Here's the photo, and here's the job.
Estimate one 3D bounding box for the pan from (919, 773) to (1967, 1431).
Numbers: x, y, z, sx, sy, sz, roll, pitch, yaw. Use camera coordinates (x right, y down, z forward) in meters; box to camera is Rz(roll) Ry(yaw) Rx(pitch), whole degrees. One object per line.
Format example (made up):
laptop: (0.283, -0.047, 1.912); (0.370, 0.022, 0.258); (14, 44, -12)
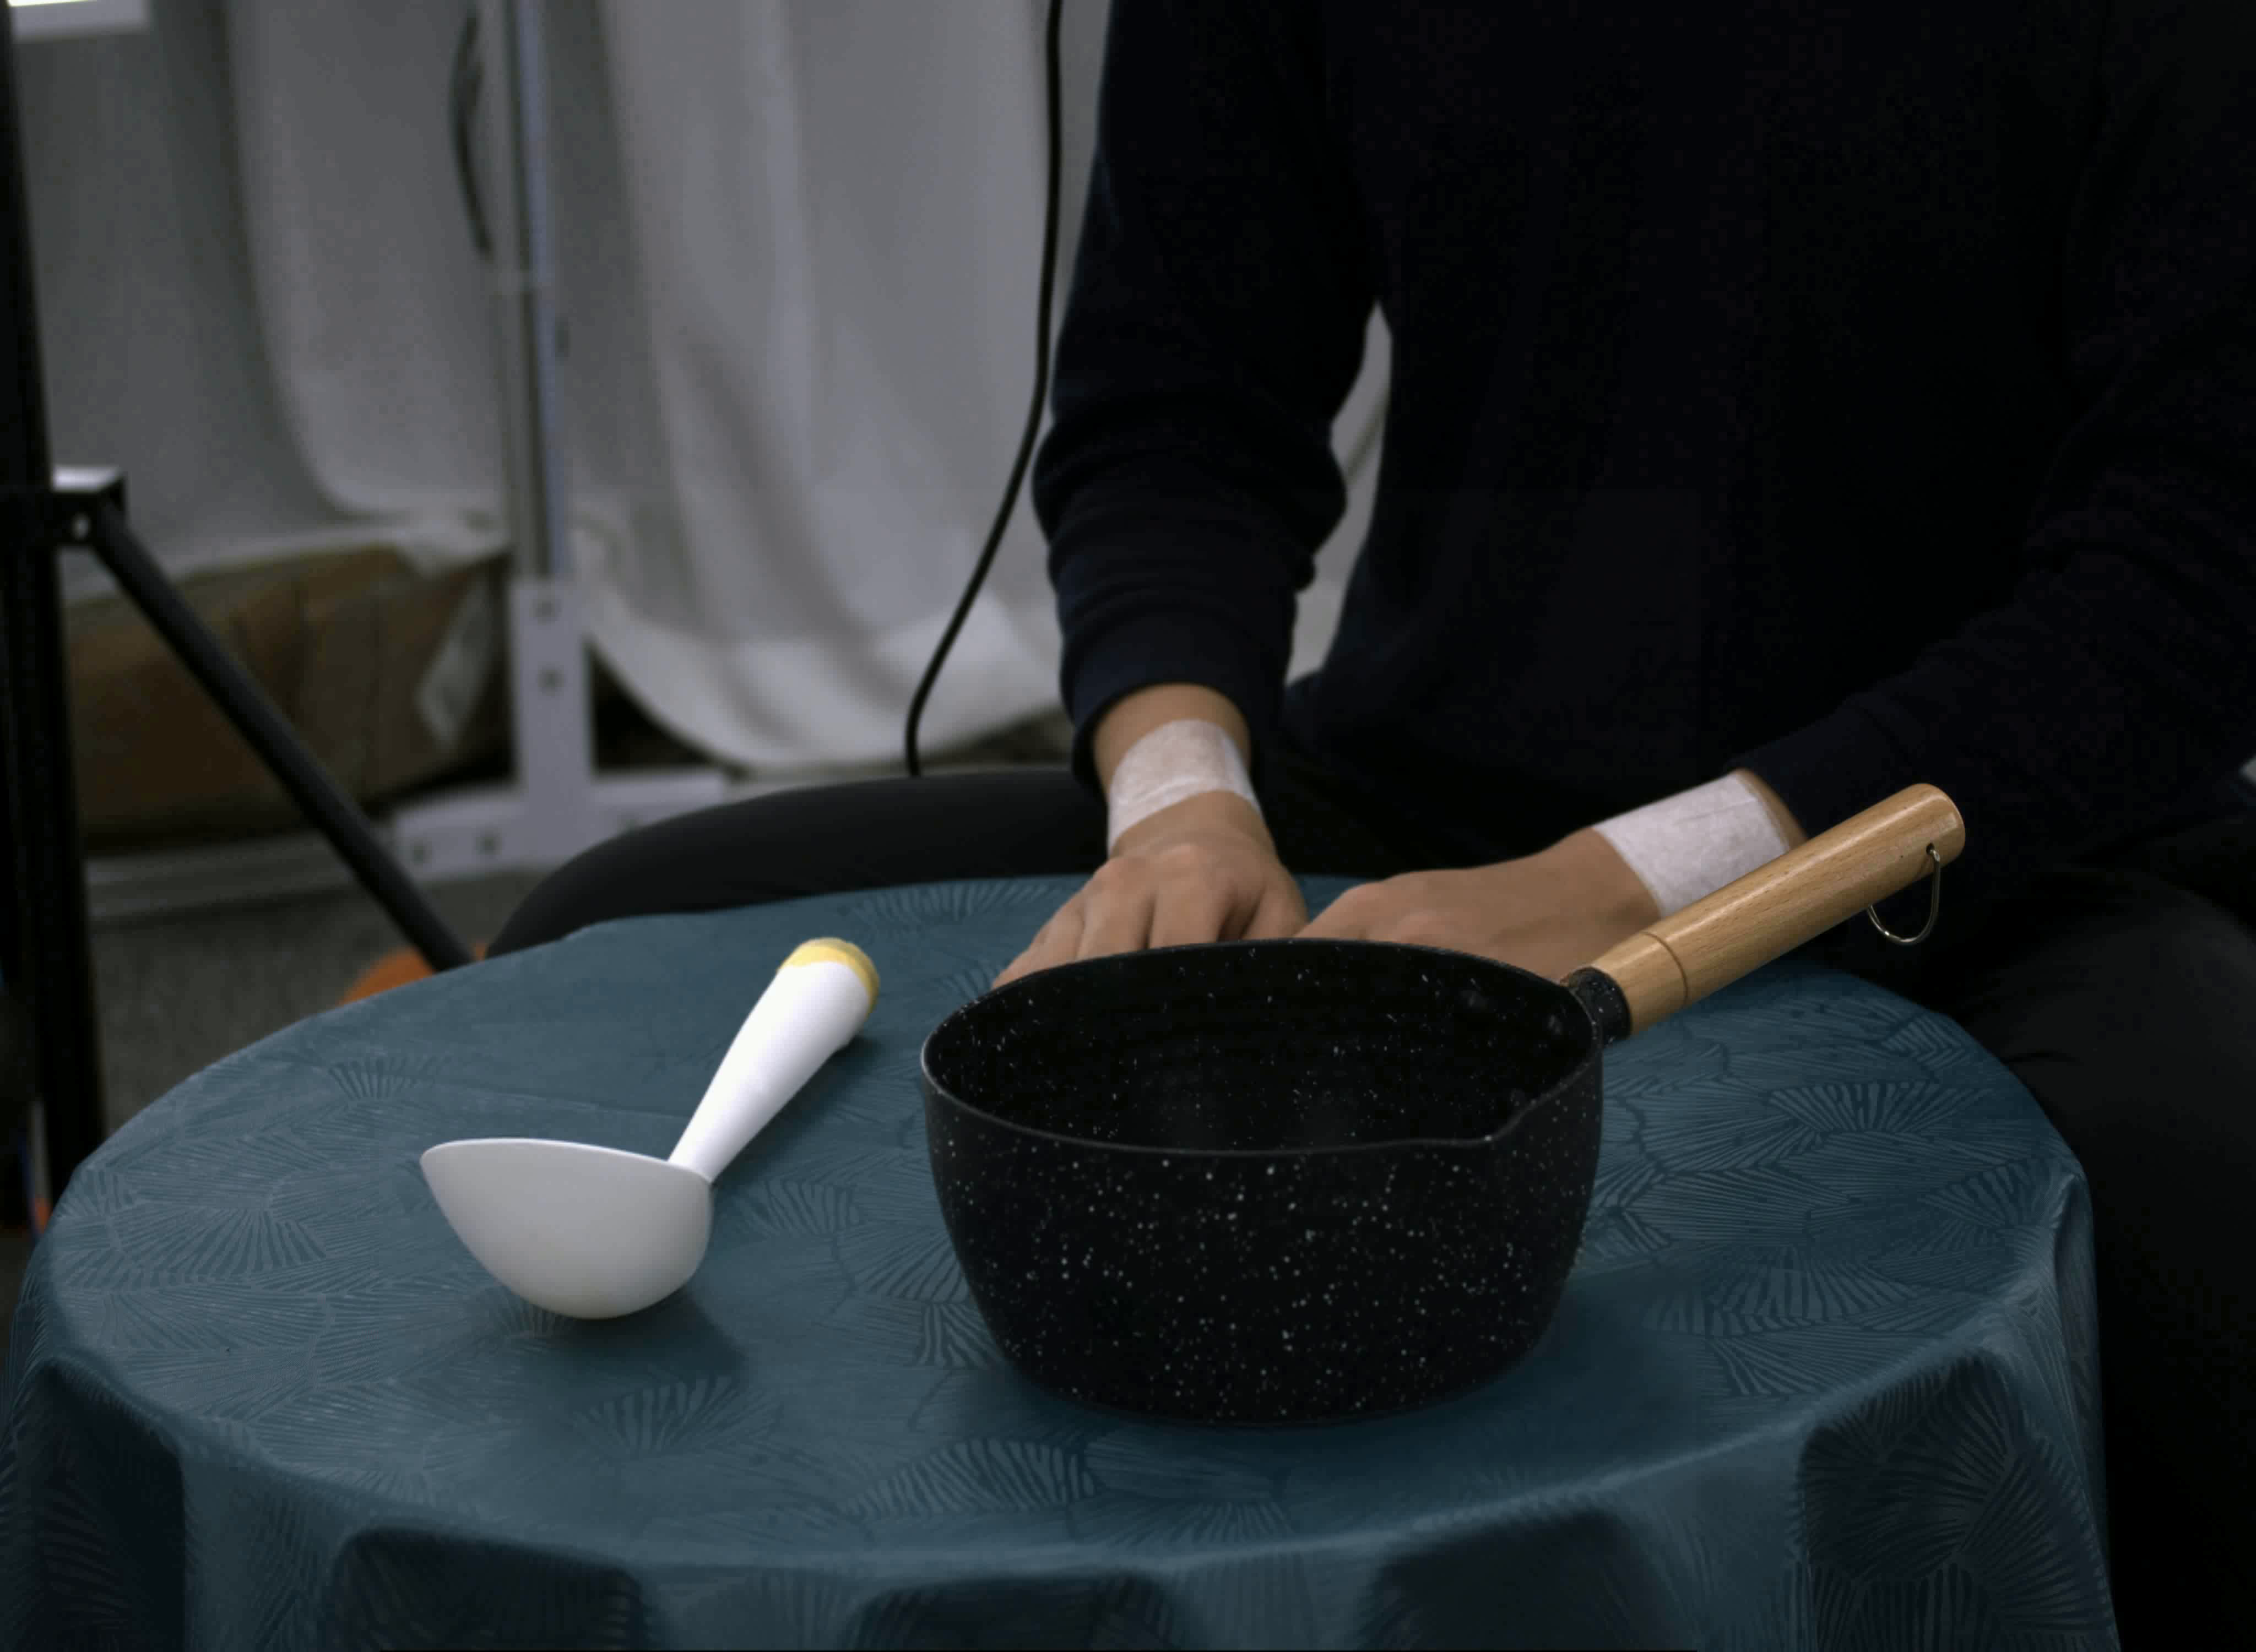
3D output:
pan: (0.101, 0.071, 1.473); (0.335, 0.108, 0.212); (-15, 19, -32)

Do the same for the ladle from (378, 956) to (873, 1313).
ladle: (-0.133, 0.076, 1.576); (0.091, 0.070, 0.290); (-5, 14, 16)
